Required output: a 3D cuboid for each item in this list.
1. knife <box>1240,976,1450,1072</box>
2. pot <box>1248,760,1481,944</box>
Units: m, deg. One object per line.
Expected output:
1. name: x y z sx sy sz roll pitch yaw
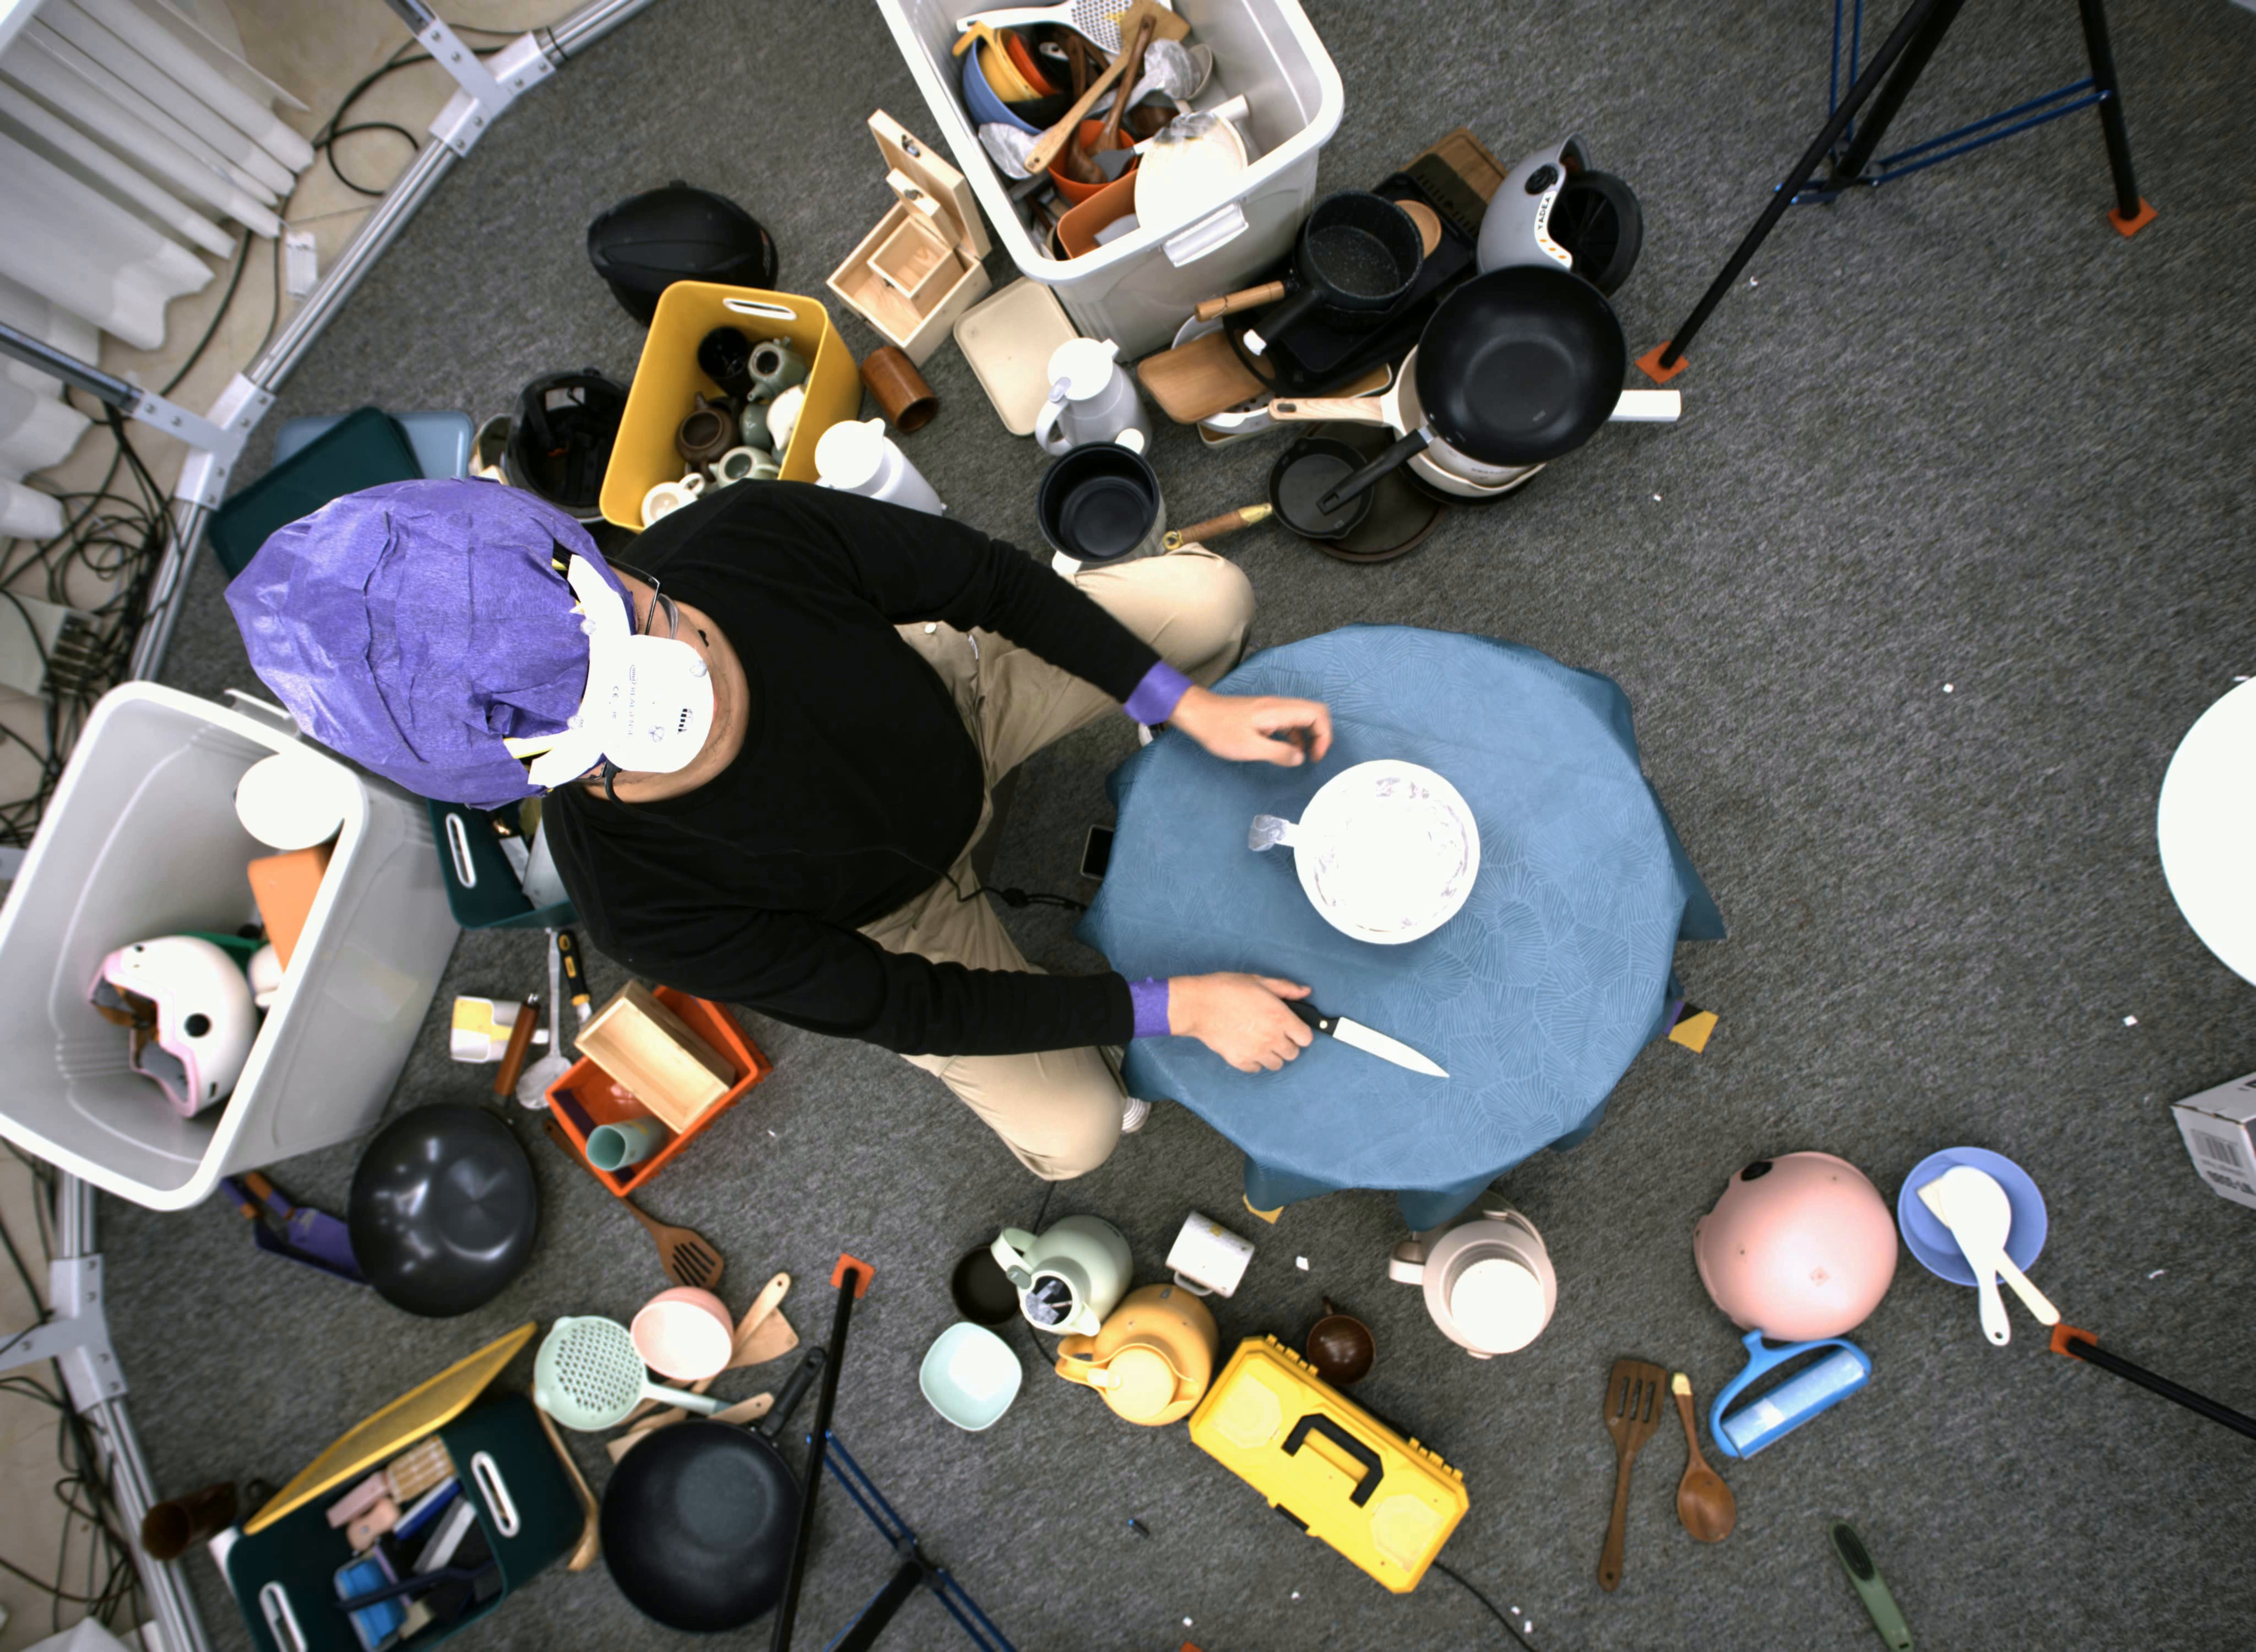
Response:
1. knife: 0.226 0.212 1.457 0.238 0.016 0.024 22 92 8
2. pot: 0.234 0.024 1.399 0.234 0.137 0.178 10 87 10
